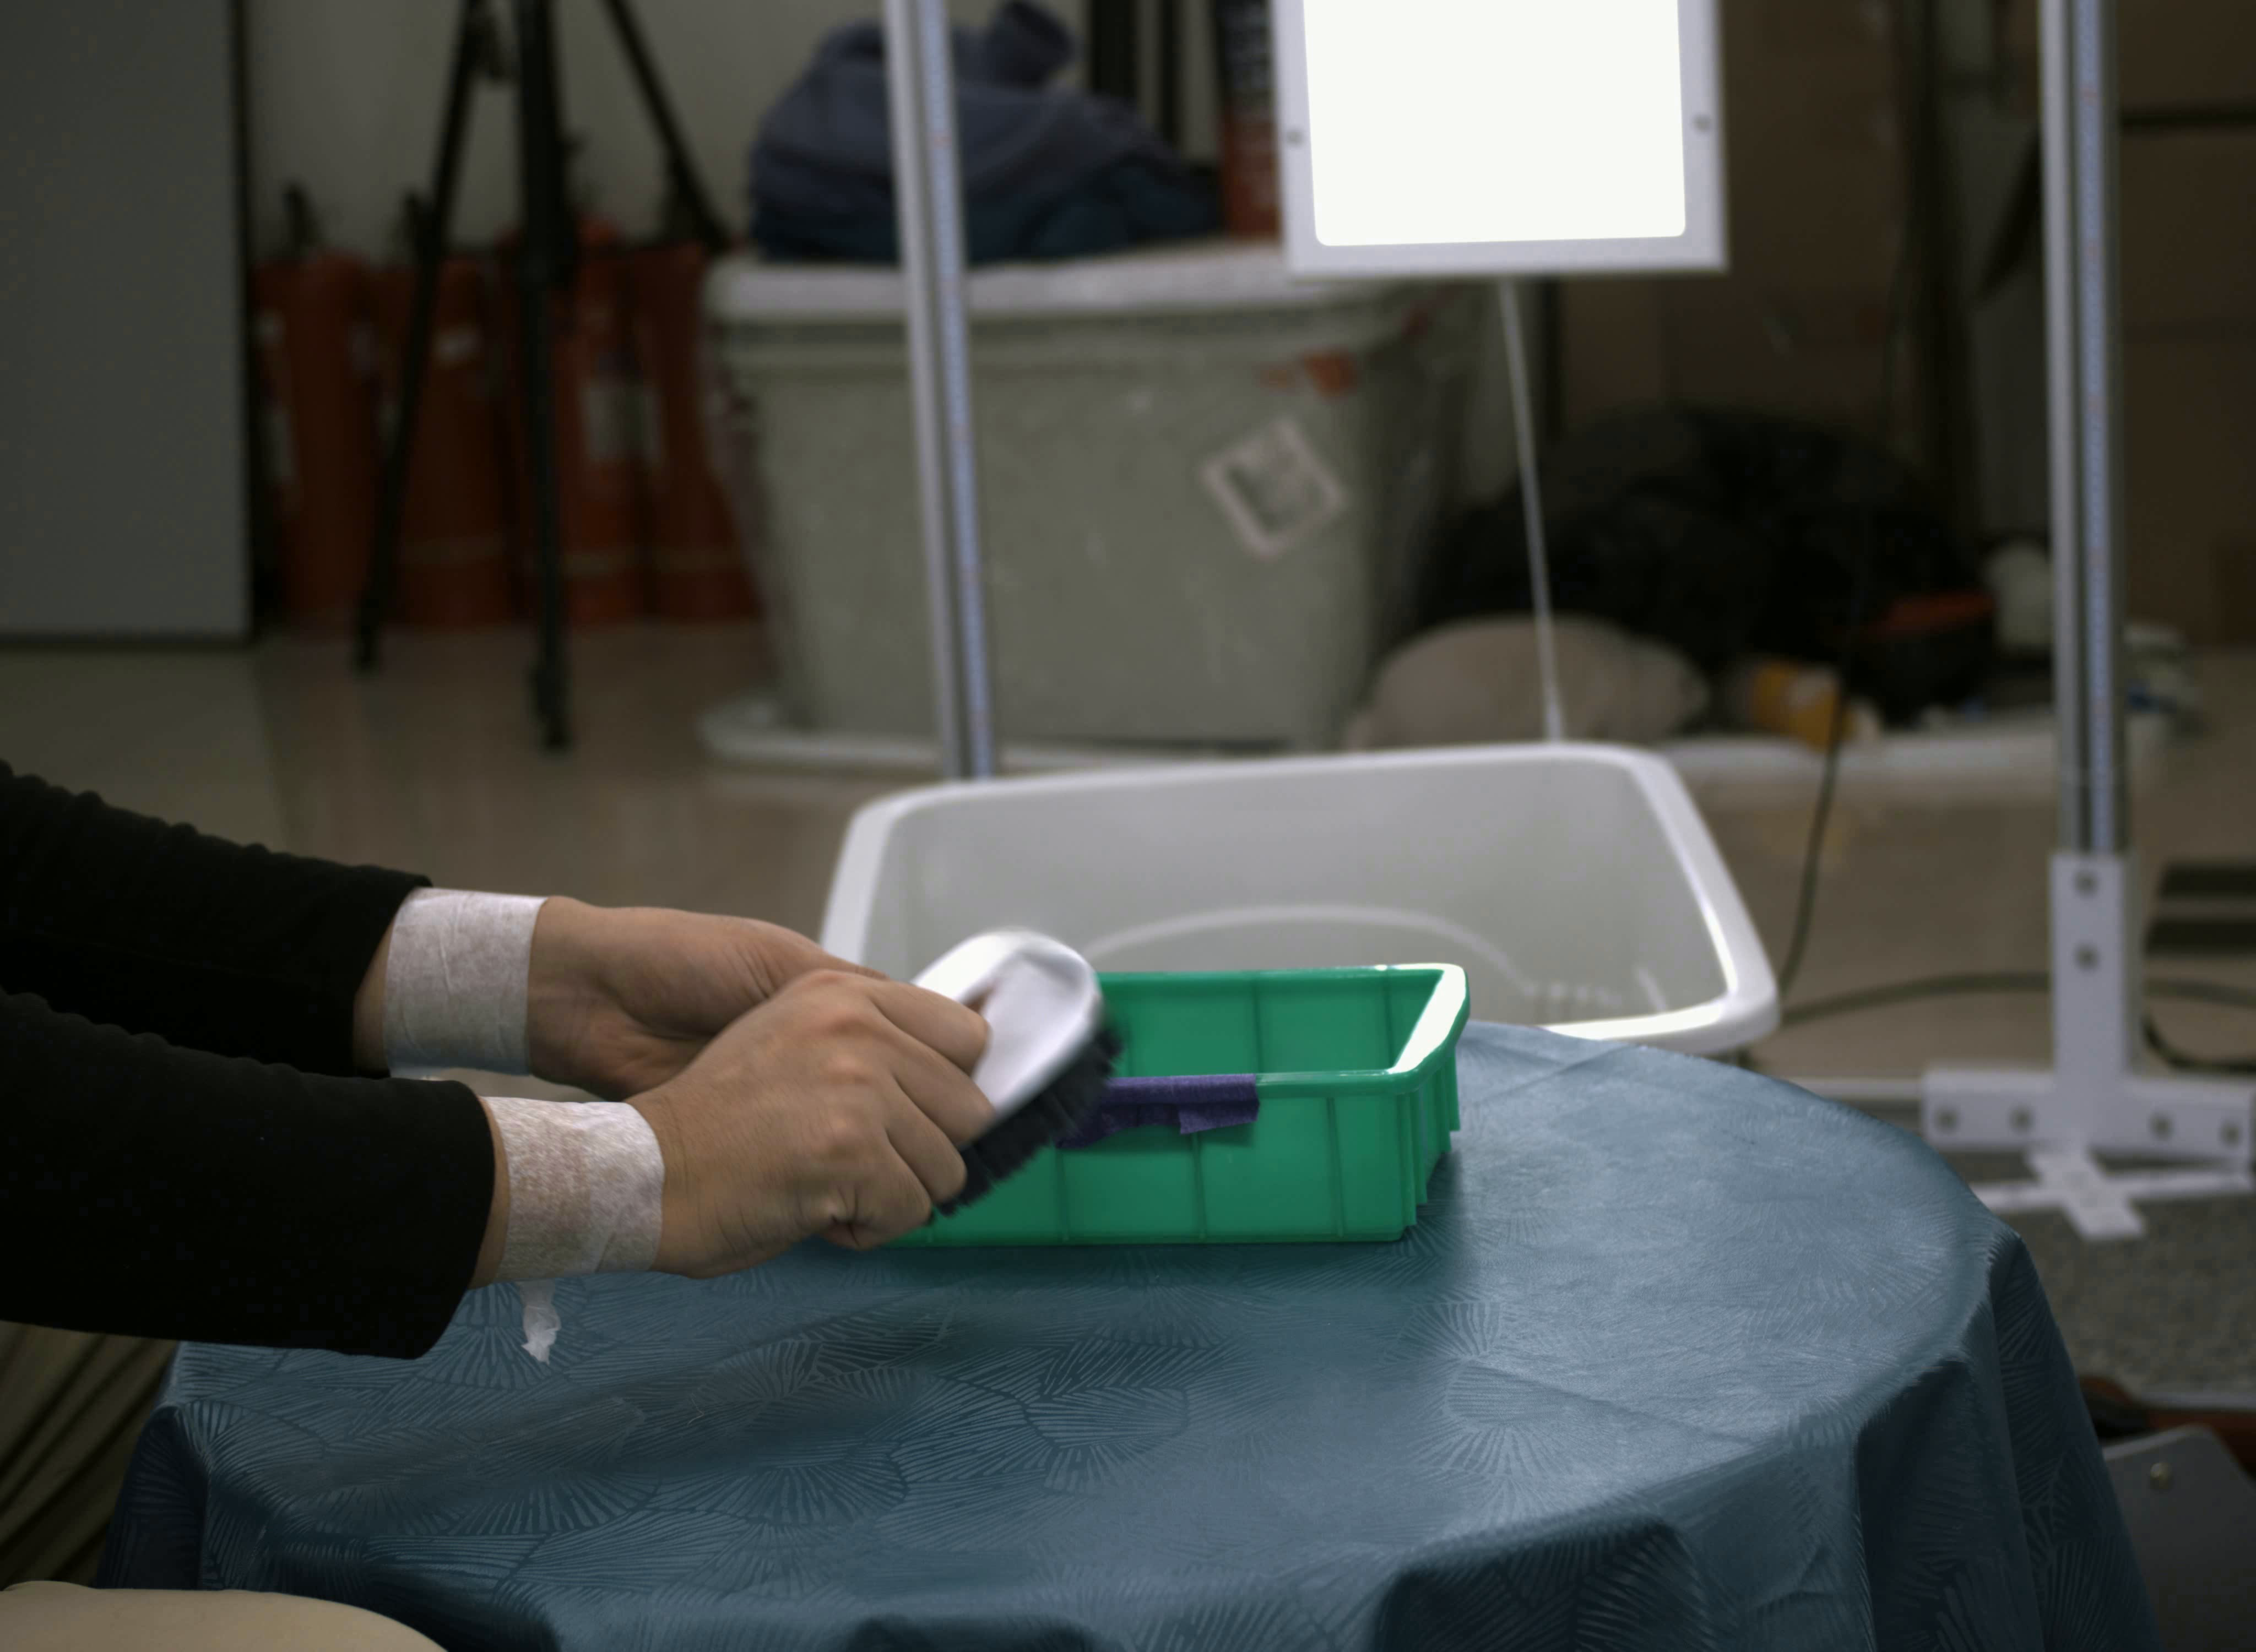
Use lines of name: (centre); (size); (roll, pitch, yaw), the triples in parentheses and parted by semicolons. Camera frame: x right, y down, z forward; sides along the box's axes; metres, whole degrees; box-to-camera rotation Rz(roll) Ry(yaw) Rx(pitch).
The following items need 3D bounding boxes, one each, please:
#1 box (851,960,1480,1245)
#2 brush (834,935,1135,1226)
box: (0.016, 0.095, 1.888); (0.212, 0.065, 0.137); (-1, 16, 12)
brush: (-0.049, 0.074, 1.748); (0.098, 0.072, 0.051); (-34, 52, -12)
